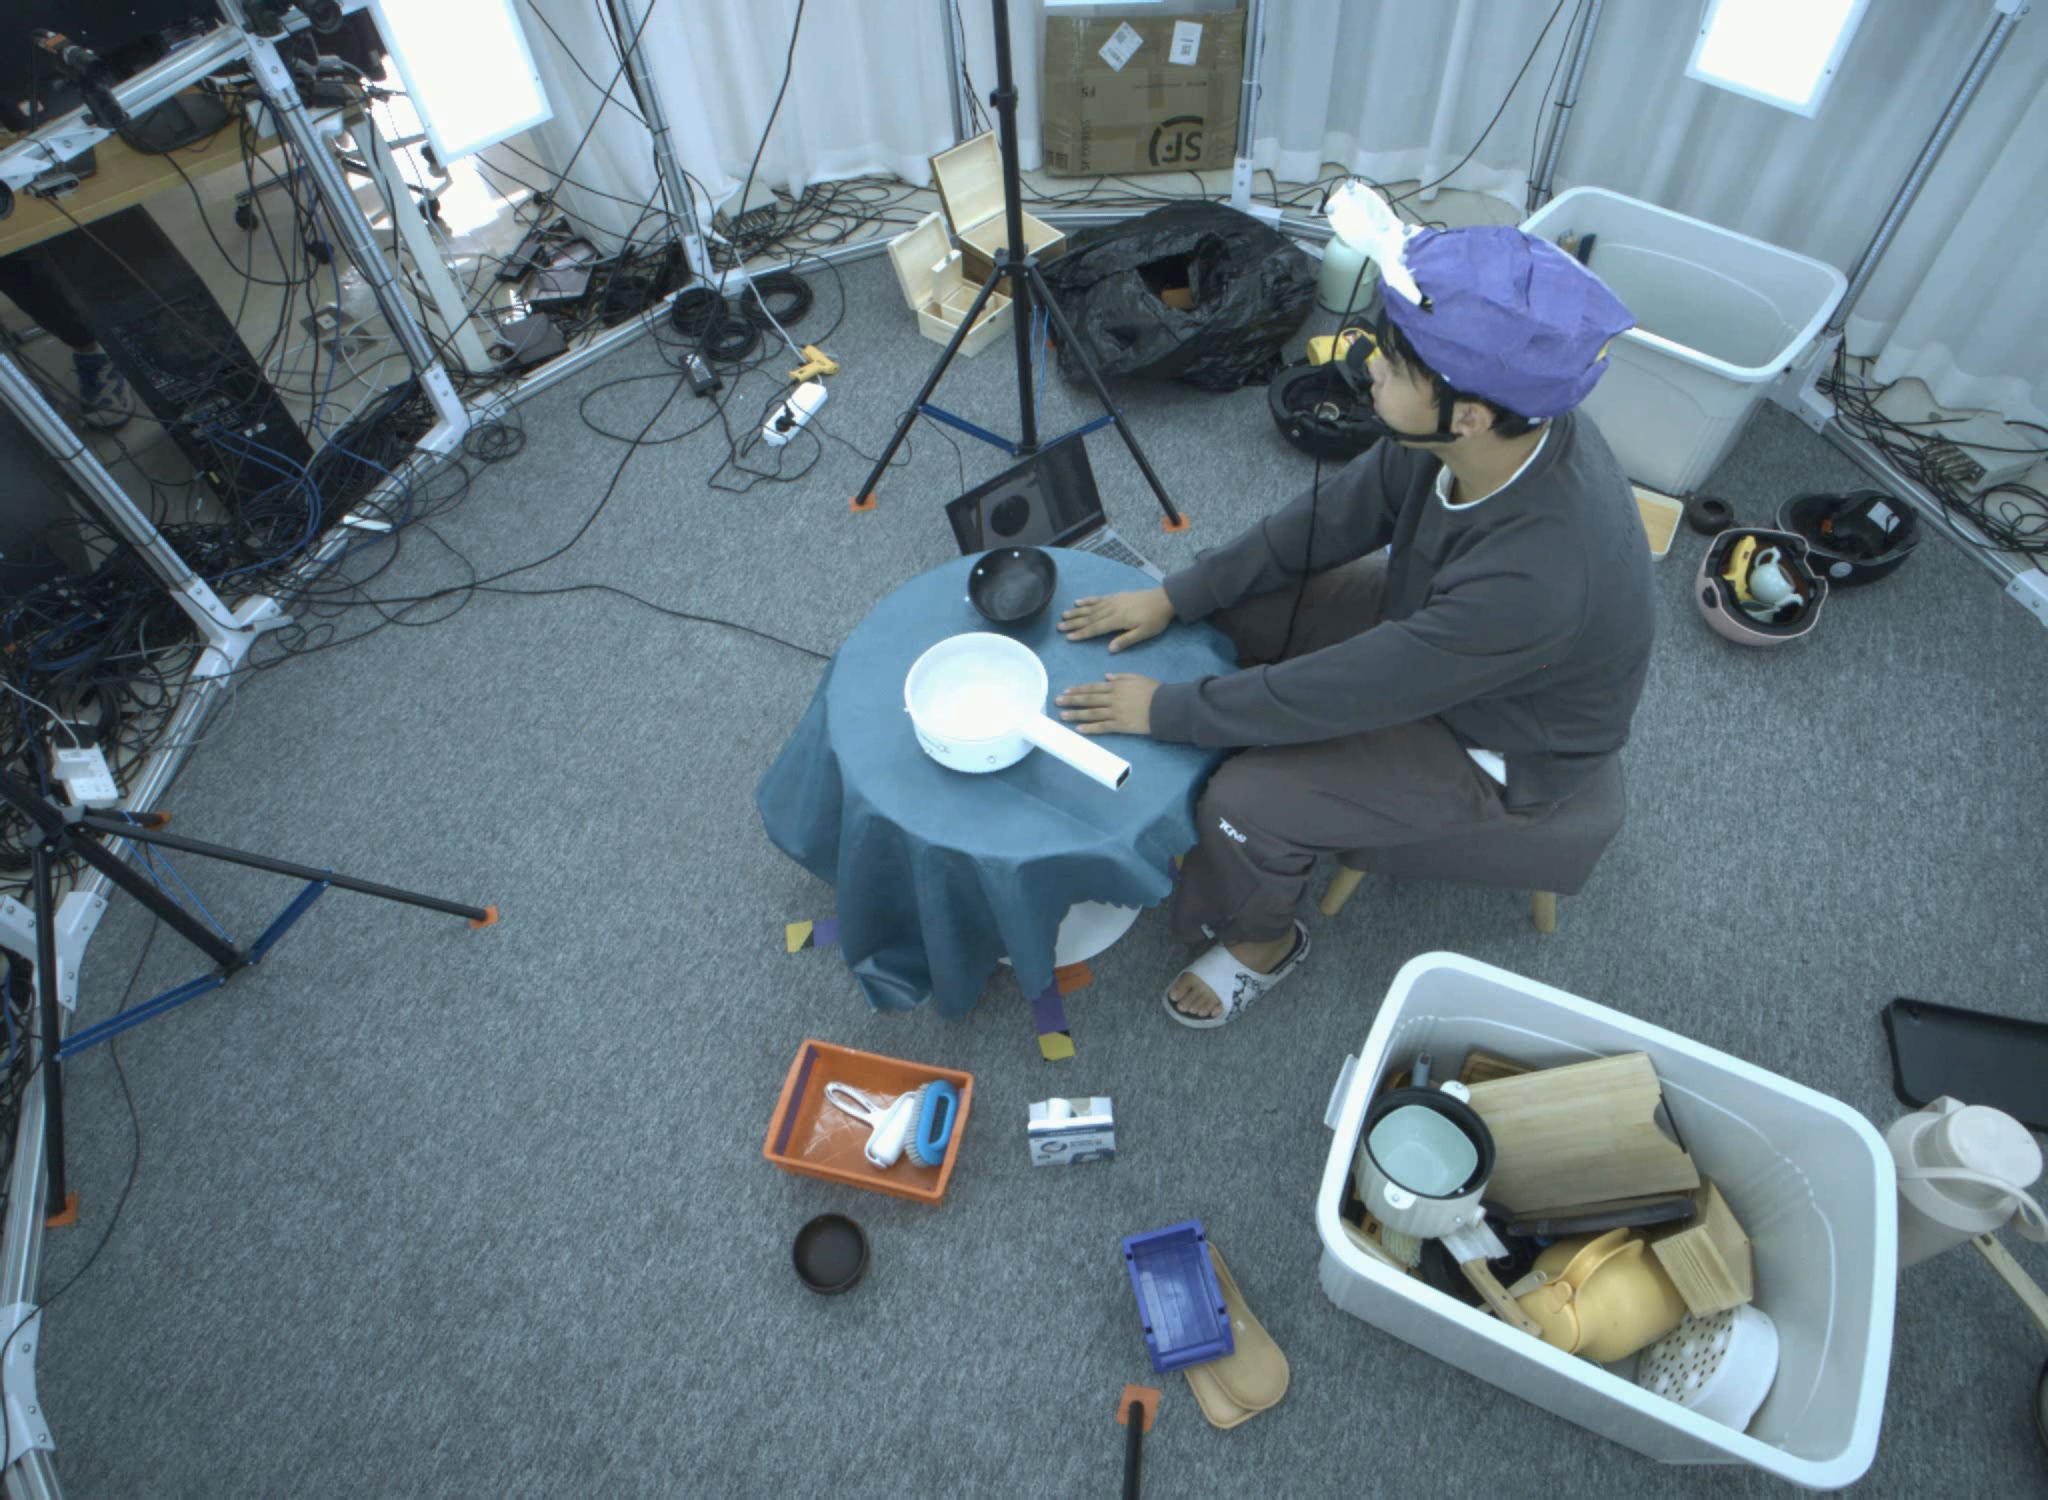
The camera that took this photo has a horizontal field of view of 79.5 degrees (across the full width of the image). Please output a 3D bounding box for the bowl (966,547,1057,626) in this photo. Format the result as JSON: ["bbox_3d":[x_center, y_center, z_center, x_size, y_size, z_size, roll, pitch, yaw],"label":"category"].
[{"bbox_3d":[-0.017,-0.249,1.924,0.136,0.067,0.170,14,55,11],"label":"bowl"}]

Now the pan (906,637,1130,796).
[{"bbox_3d":[-0.006,-0.022,1.753,0.349,0.103,0.202,31,58,19],"label":"pan"}]
